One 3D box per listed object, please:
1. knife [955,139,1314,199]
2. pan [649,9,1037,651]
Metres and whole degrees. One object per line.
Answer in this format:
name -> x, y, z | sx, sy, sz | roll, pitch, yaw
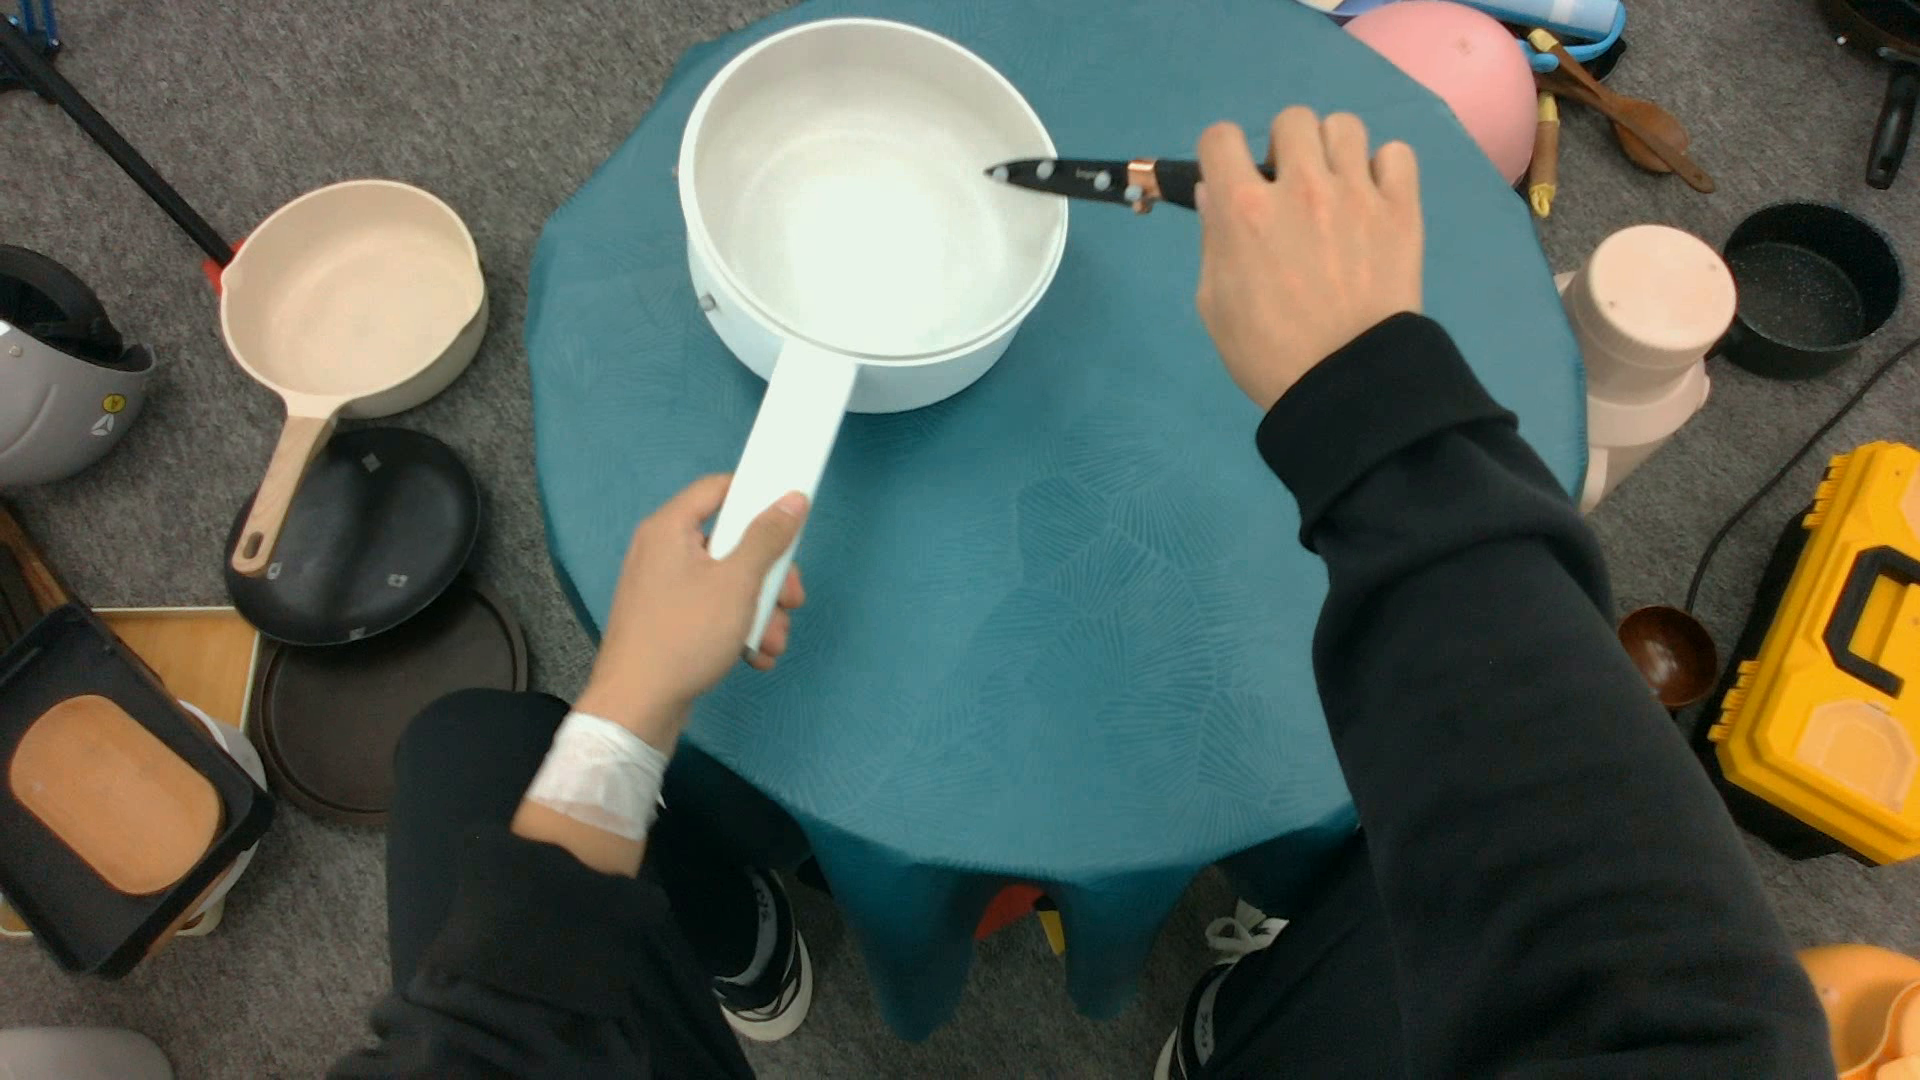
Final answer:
knife -> 0.071, -0.178, 0.654 | 0.017, 0.026, 0.225 | -38, 37, -28
pan -> -0.086, -0.107, 0.728 | 0.201, 0.101, 0.356 | 19, 70, -9
